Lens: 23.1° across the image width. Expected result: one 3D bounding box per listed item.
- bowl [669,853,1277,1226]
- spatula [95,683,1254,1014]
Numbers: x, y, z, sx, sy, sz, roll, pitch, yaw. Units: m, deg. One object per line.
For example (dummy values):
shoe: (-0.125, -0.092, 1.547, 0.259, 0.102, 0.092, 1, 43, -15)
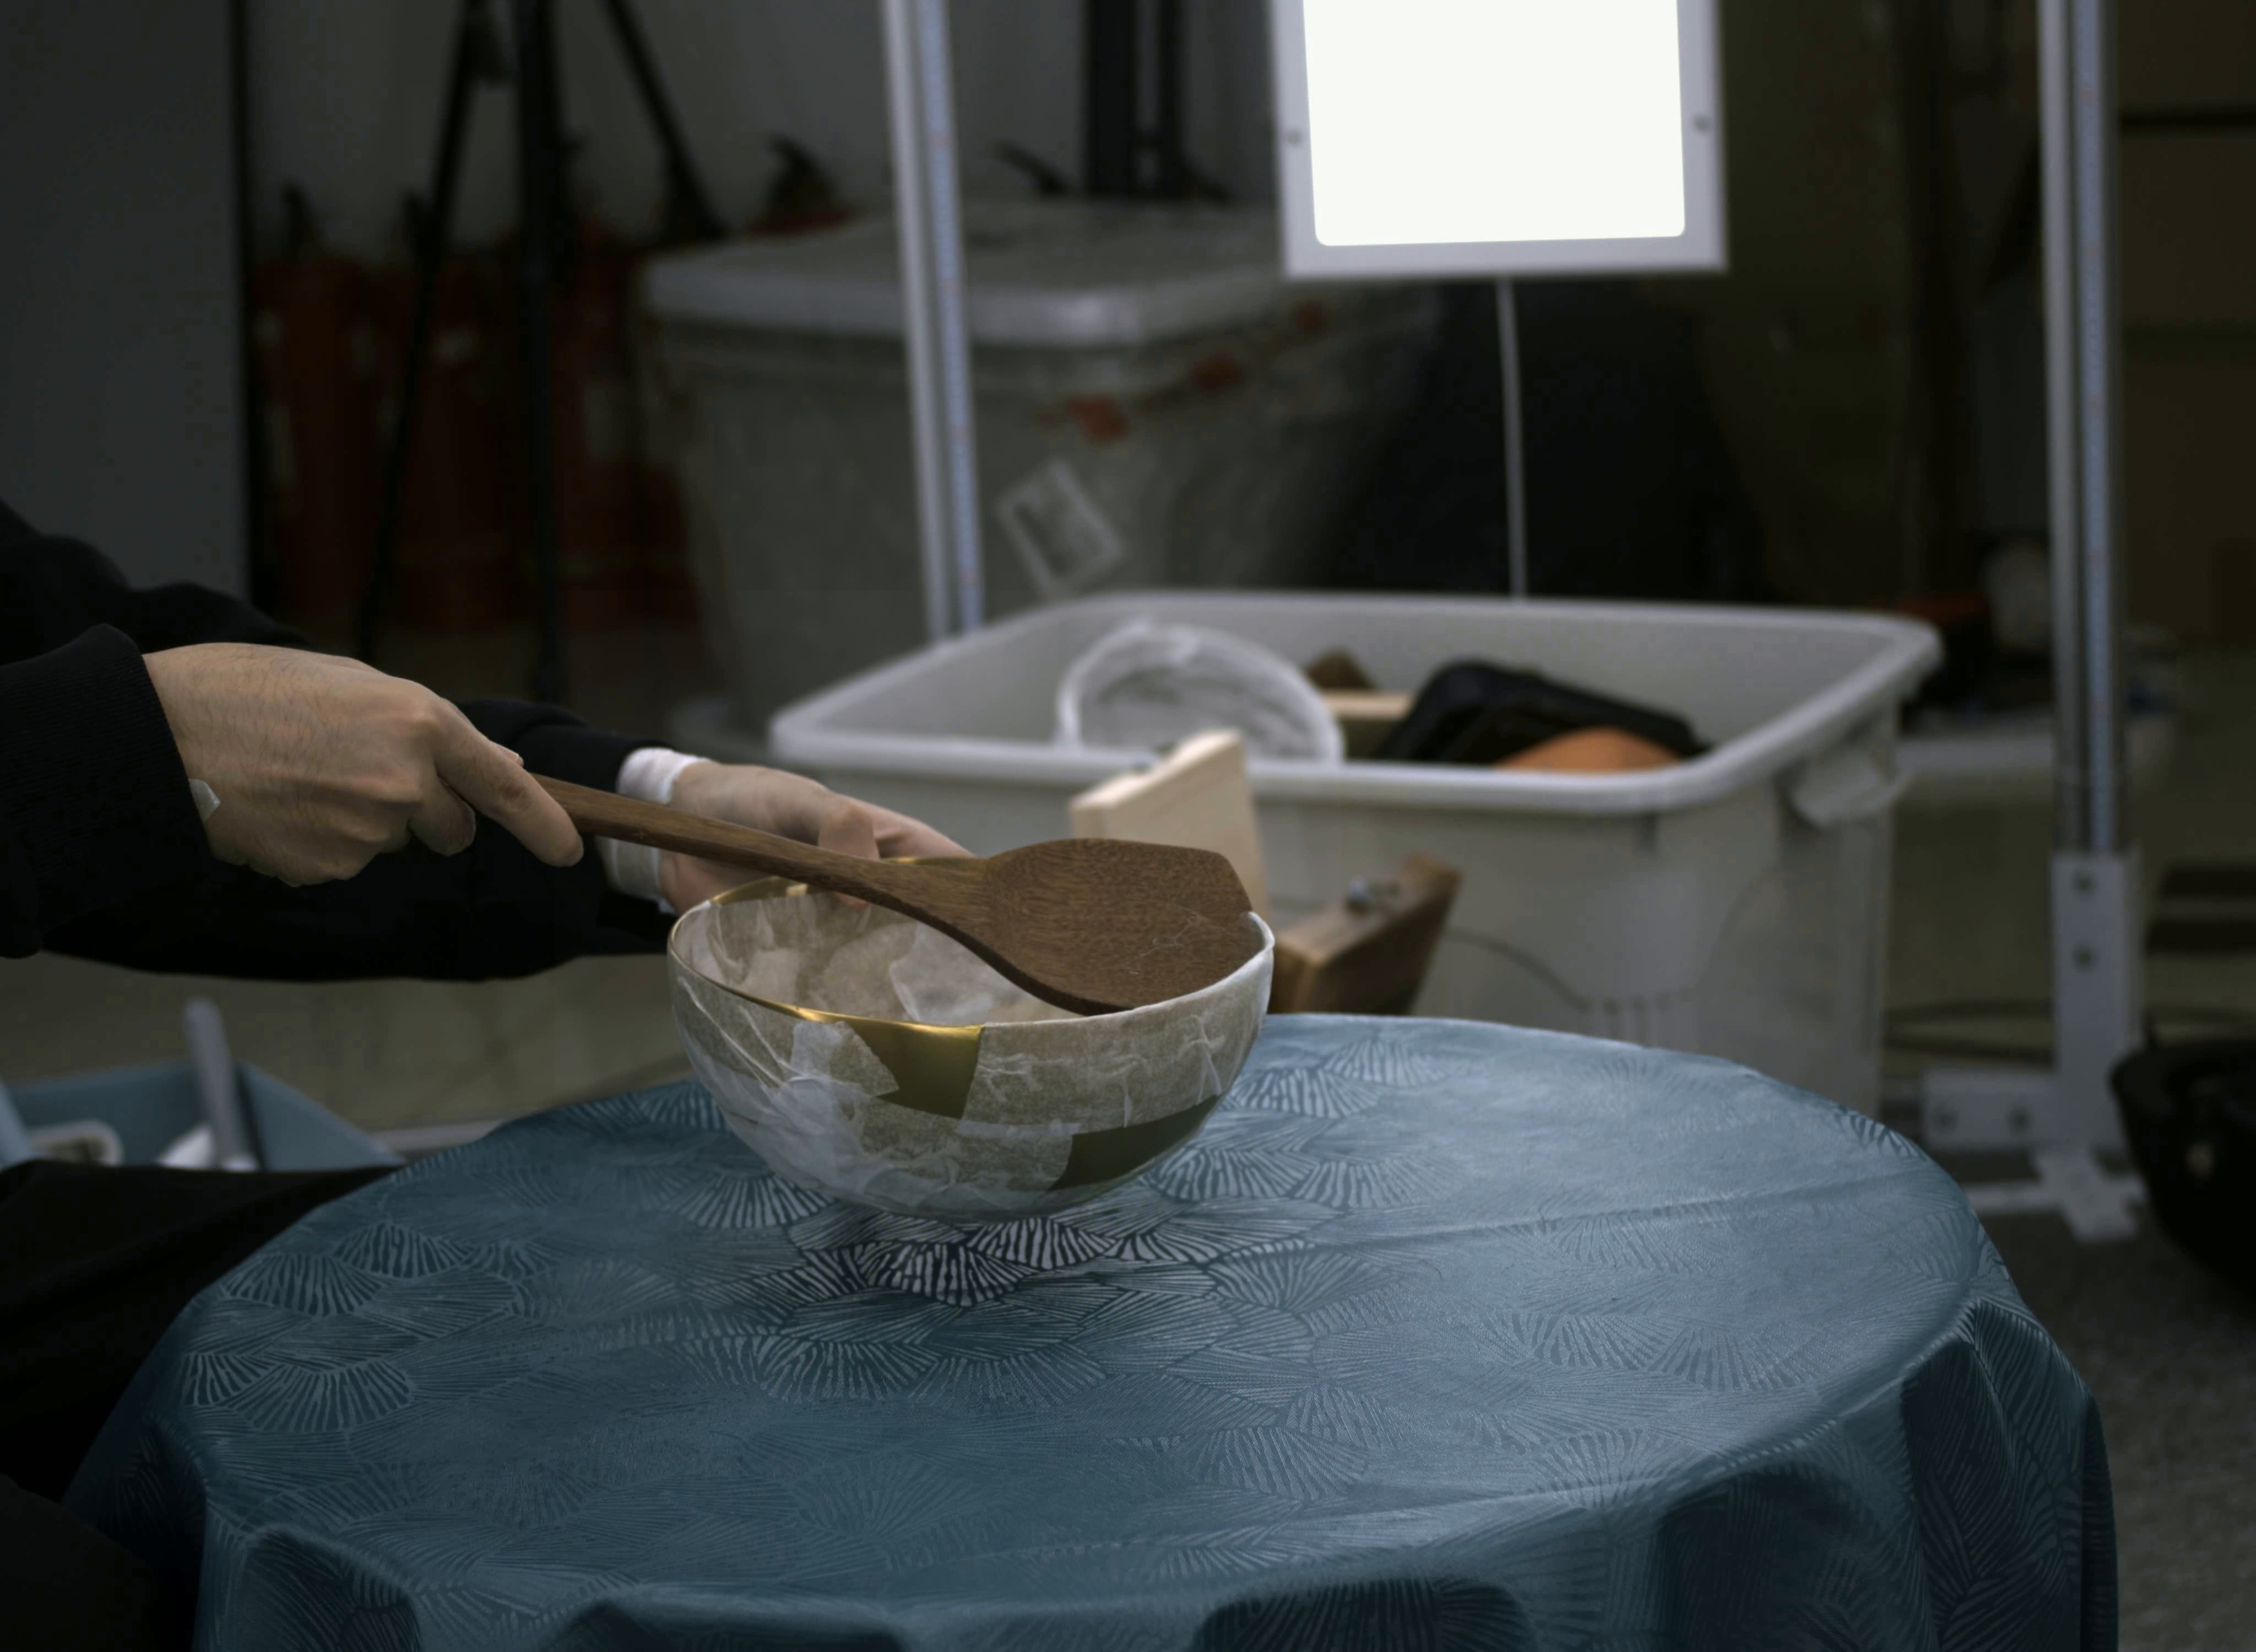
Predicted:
bowl: (-0.052, 0.077, 1.832, 0.214, 0.095, 0.214, -2, 15, -1)
spatula: (-0.143, 0.002, 1.790, 0.383, 0.016, 0.095, 13, 34, -7)
